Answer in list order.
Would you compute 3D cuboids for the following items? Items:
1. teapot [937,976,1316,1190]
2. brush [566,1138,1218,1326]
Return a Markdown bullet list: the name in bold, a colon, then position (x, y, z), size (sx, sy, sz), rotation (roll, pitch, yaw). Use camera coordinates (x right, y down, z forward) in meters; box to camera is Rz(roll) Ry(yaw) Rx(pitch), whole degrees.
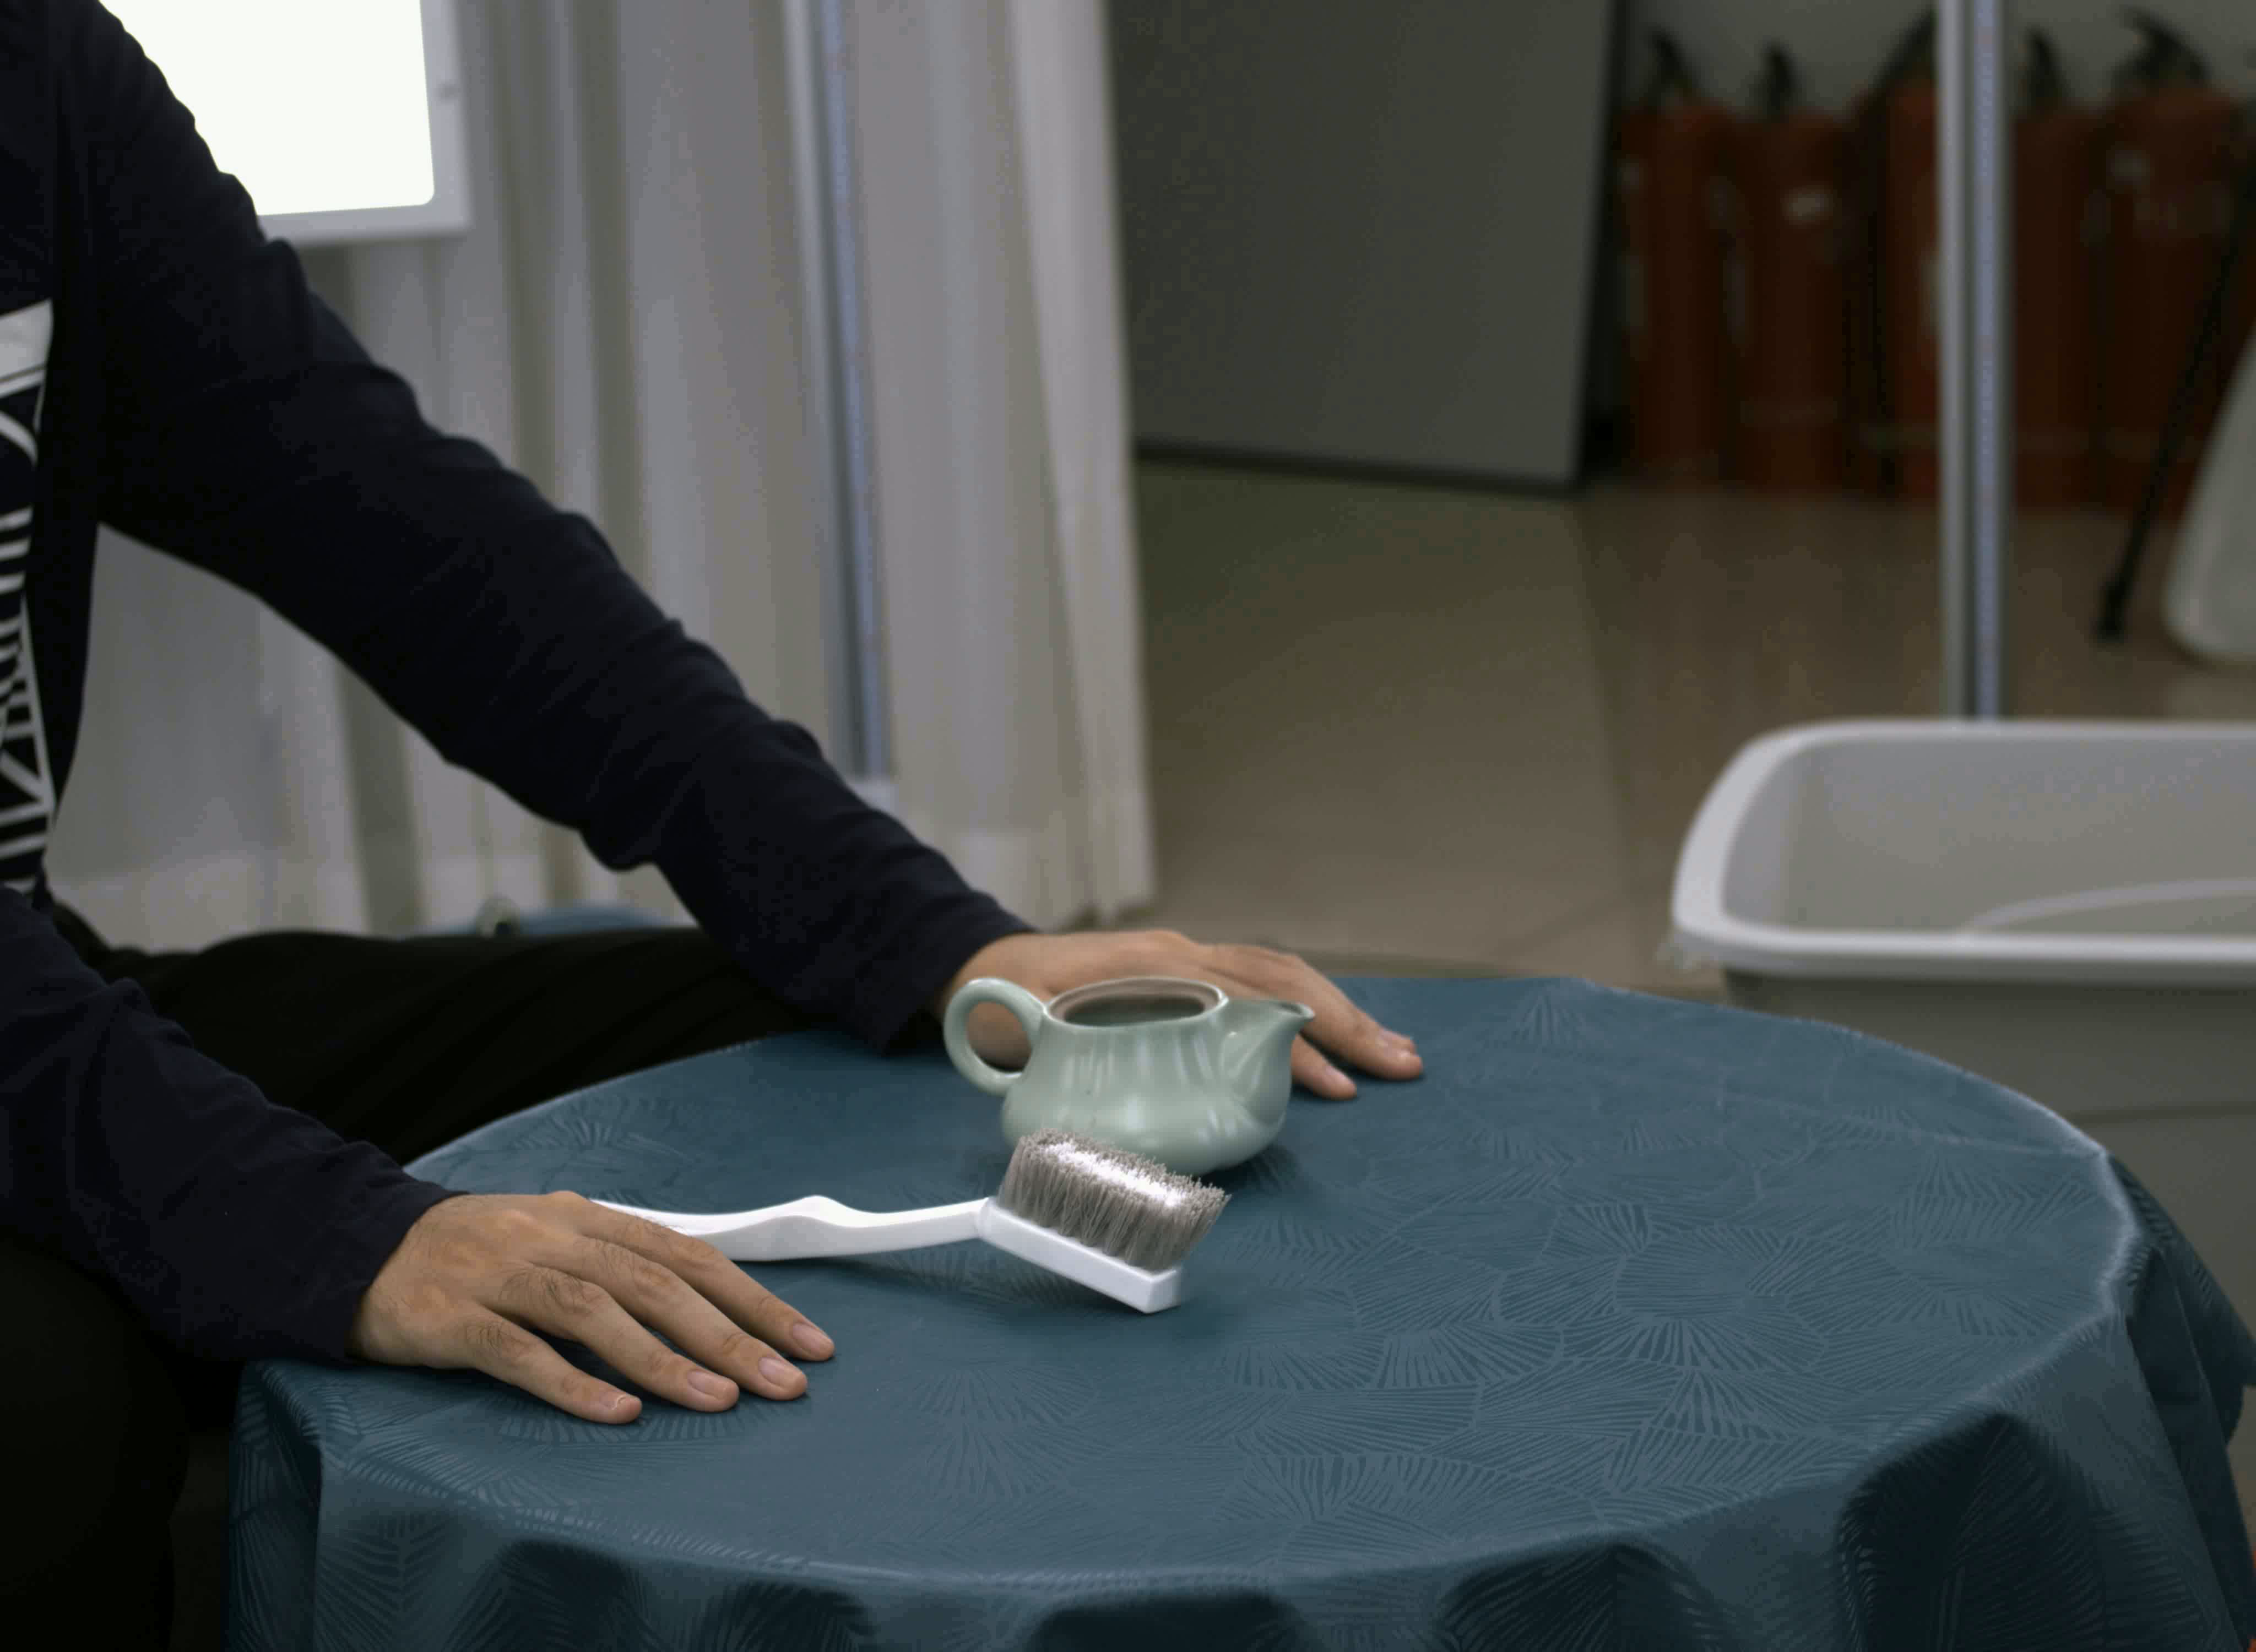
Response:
- **teapot**: position (0.000, 0.085, 1.797), size (0.137, 0.062, 0.095), rotation (3, 18, 23)
- **brush**: position (-0.080, 0.119, 1.711), size (0.245, 0.051, 0.034), rotation (5, 20, 32)
